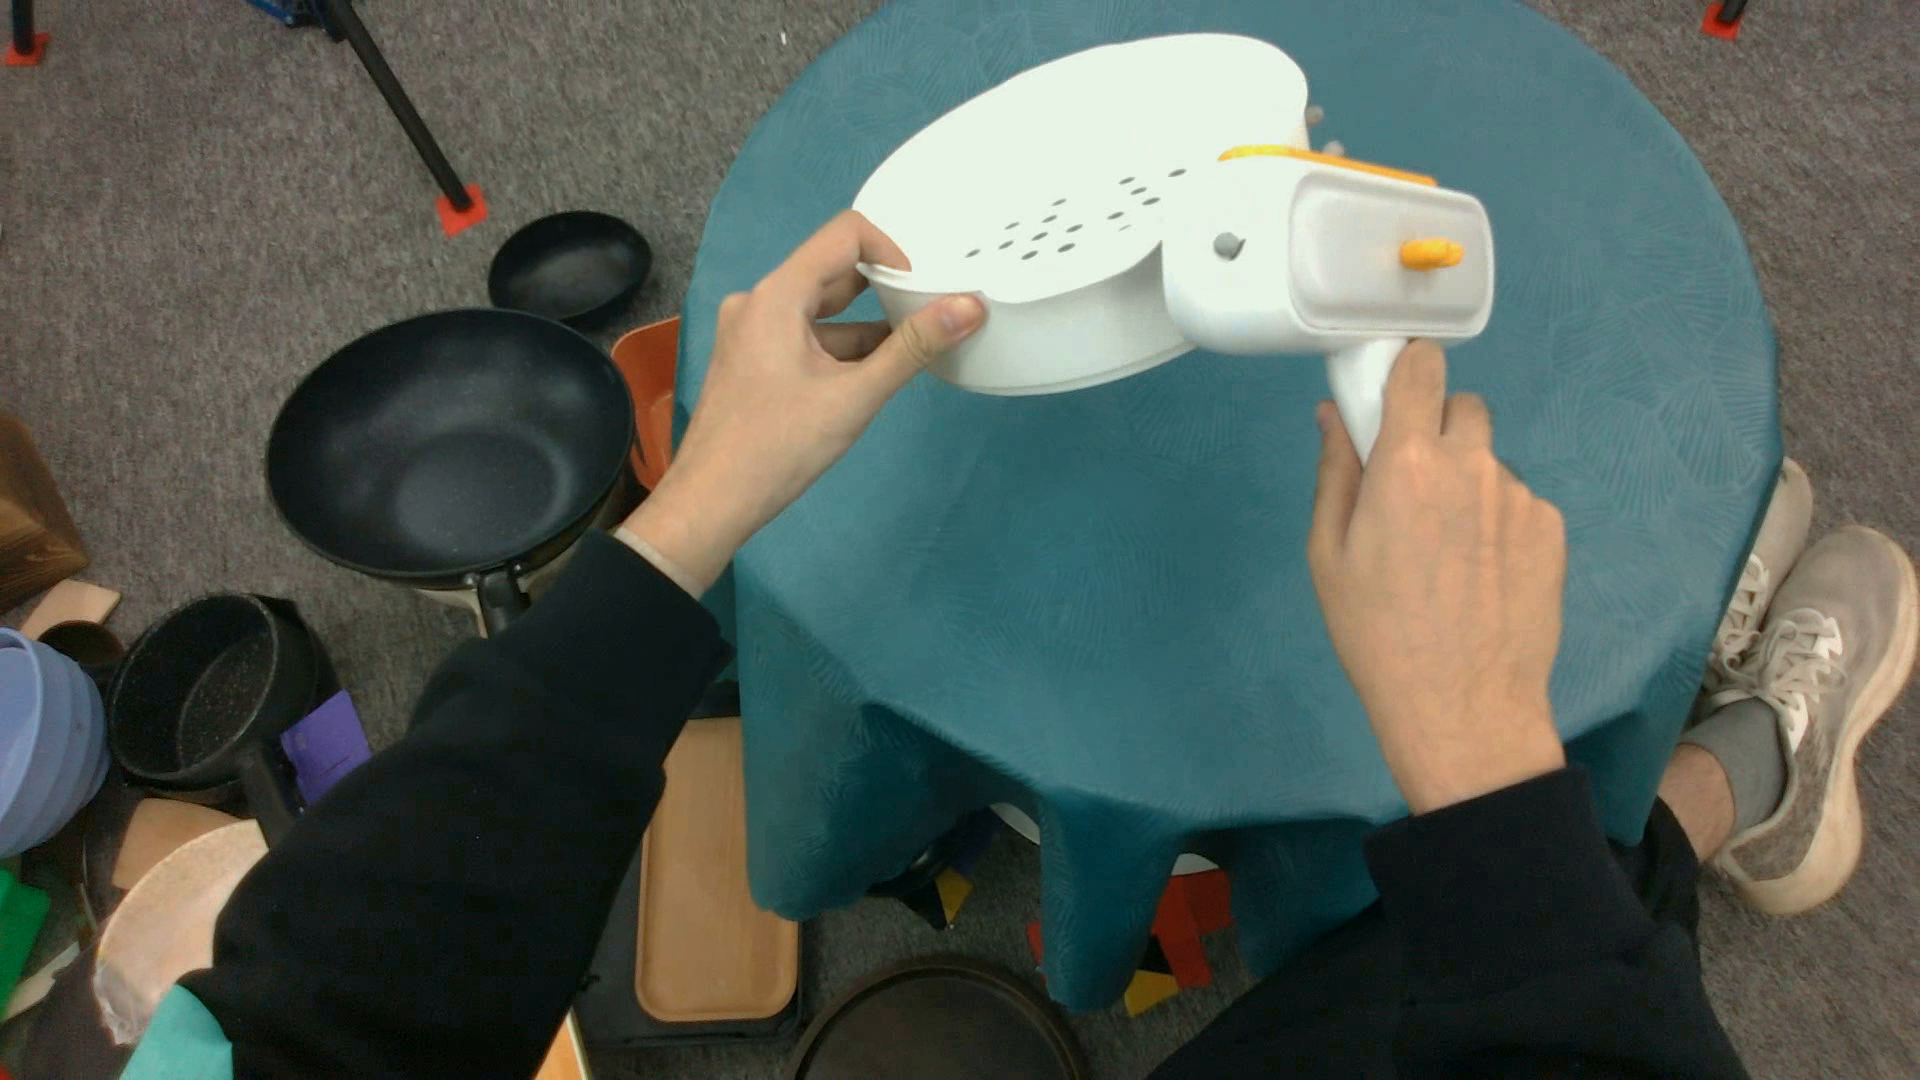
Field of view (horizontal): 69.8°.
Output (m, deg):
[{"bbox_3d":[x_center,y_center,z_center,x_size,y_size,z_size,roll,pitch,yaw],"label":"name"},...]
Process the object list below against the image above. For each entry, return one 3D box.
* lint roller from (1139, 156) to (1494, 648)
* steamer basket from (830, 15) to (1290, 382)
[{"bbox_3d":[0.154,-0.051,0.527,0.074,0.193,0.192,-12,91,38],"label":"lint roller"},{"bbox_3d":[0.046,-0.152,0.610,0.201,0.069,0.231,-15,40,12],"label":"steamer basket"}]
